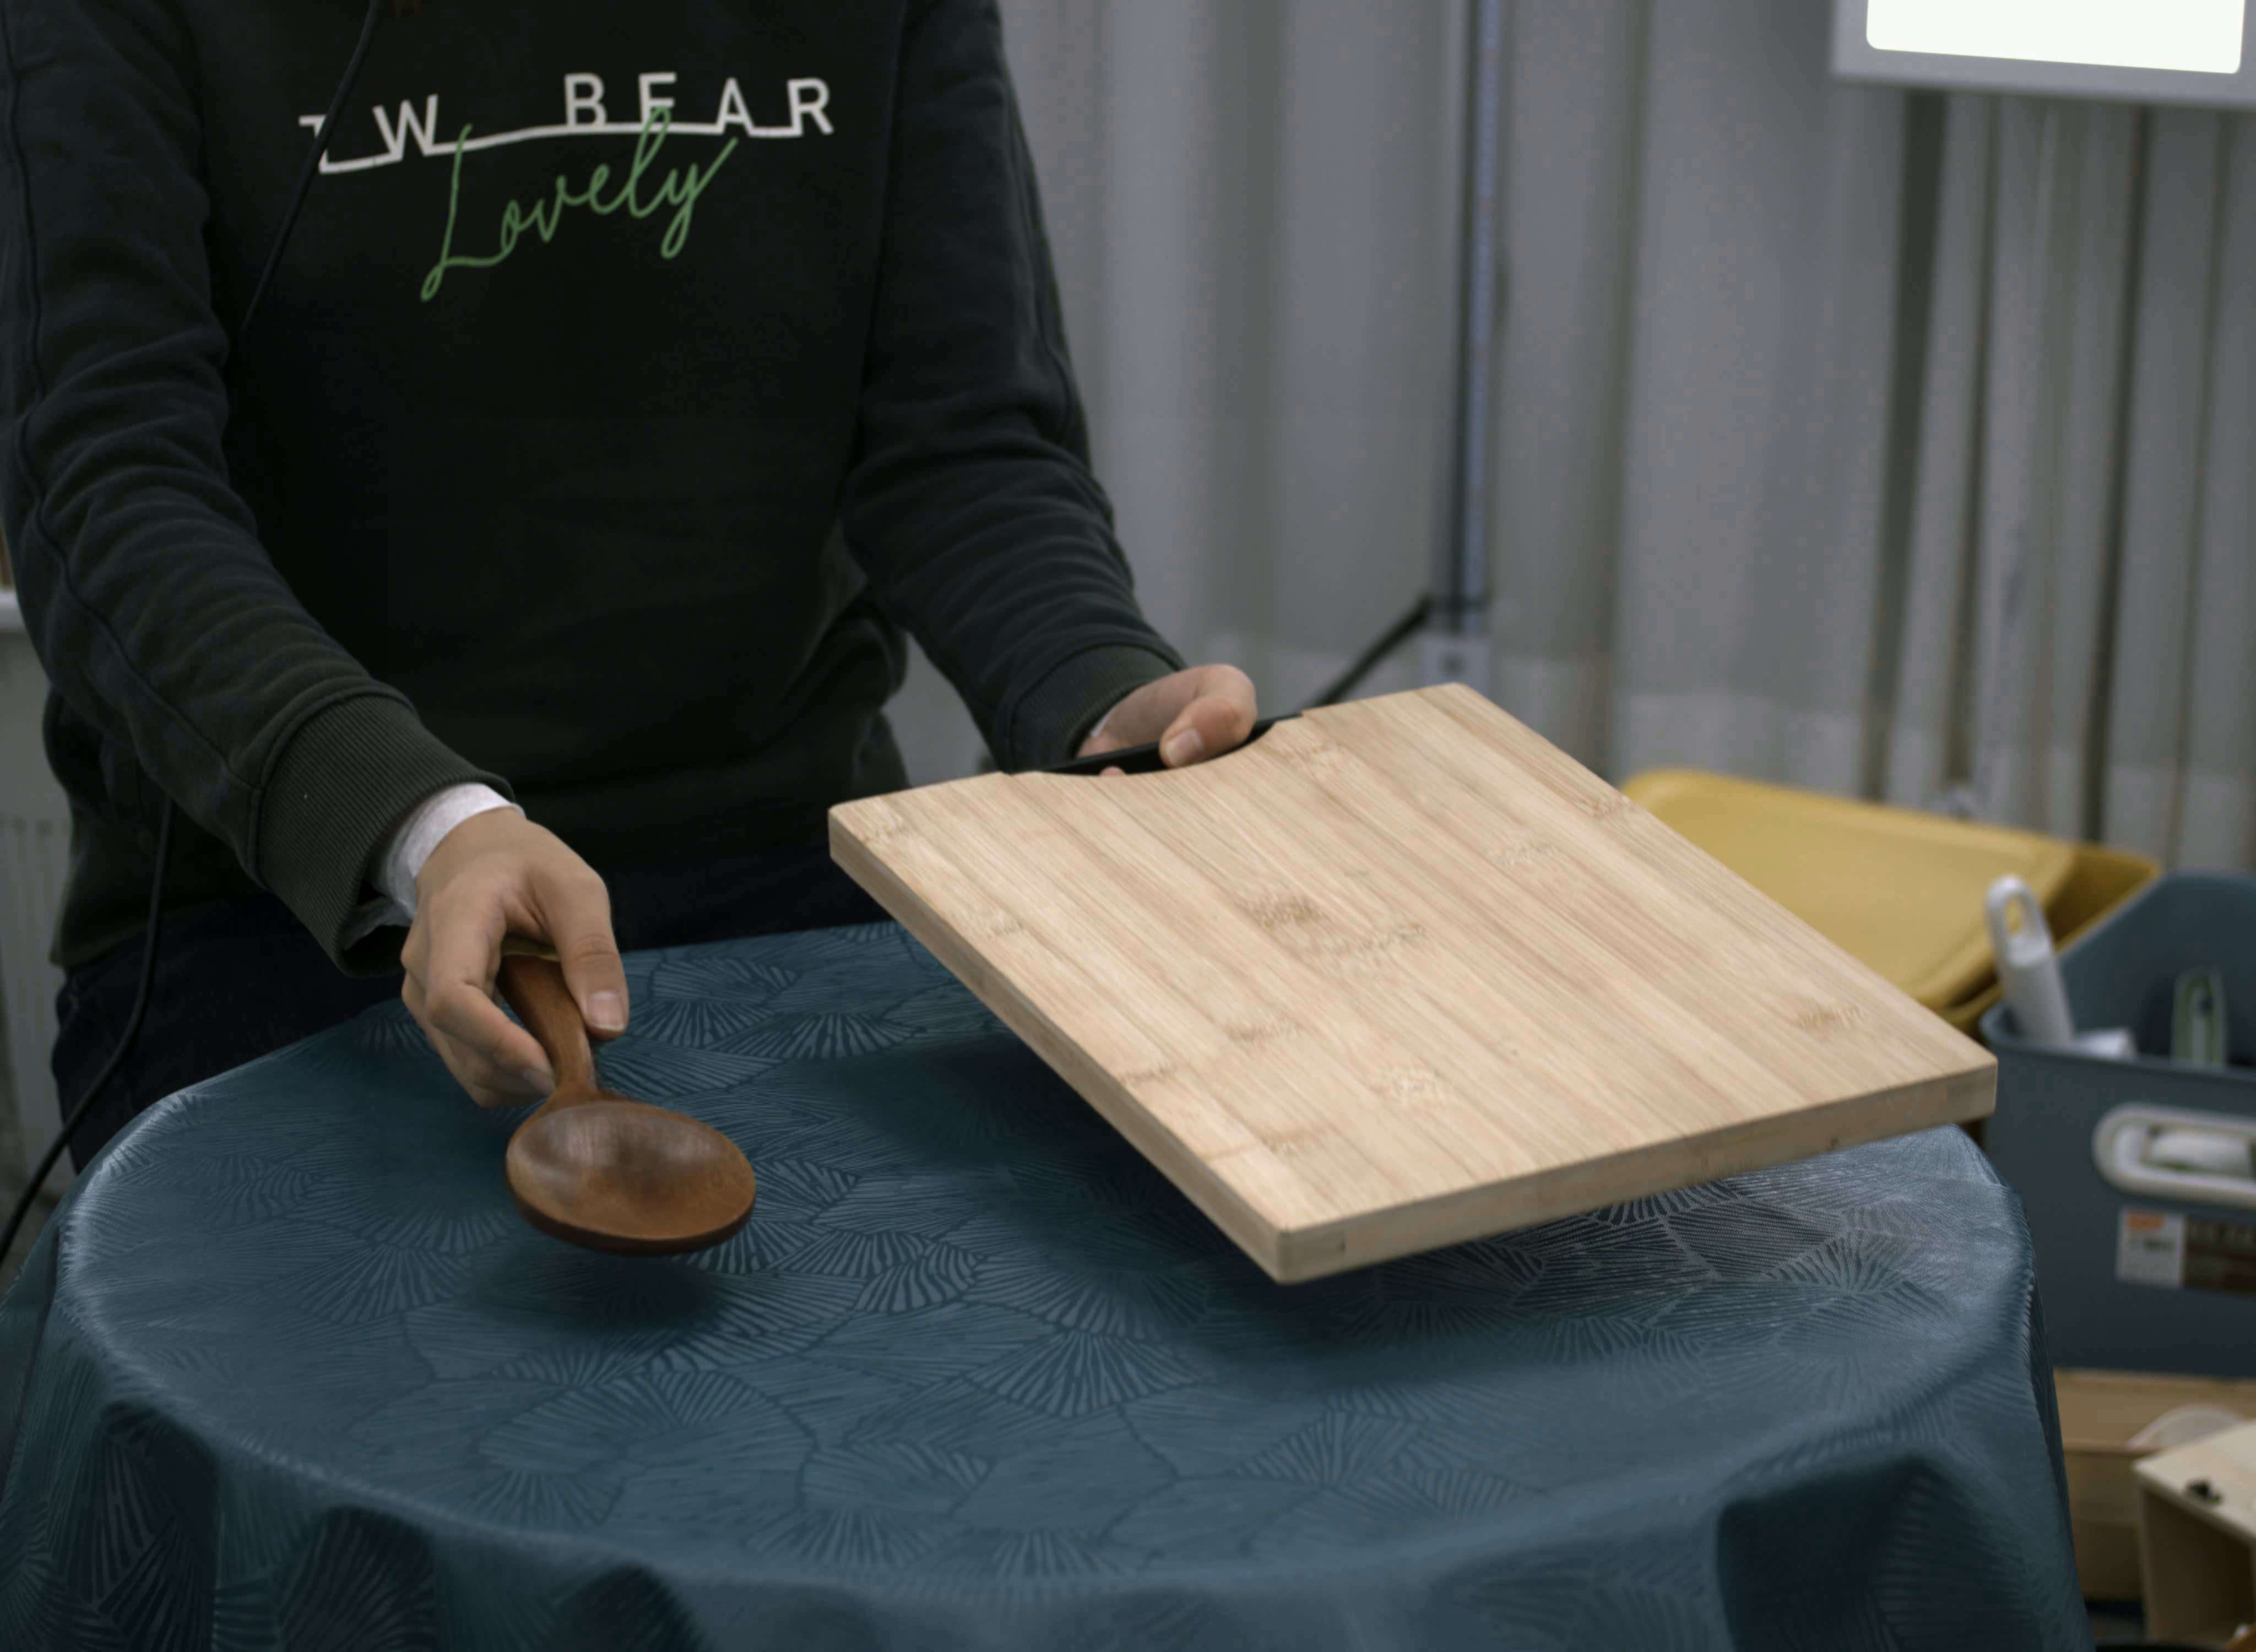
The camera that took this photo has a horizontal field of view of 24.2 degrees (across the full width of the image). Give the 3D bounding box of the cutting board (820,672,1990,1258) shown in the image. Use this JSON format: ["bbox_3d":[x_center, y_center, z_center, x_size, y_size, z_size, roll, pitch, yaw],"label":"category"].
[{"bbox_3d":[0.077,0.036,1.665,0.251,0.024,0.344,-11,26,-24],"label":"cutting board"}]

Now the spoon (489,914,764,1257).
[{"bbox_3d":[-0.163,0.079,1.590,0.075,0.017,0.213,-3,26,-17],"label":"spoon"}]
